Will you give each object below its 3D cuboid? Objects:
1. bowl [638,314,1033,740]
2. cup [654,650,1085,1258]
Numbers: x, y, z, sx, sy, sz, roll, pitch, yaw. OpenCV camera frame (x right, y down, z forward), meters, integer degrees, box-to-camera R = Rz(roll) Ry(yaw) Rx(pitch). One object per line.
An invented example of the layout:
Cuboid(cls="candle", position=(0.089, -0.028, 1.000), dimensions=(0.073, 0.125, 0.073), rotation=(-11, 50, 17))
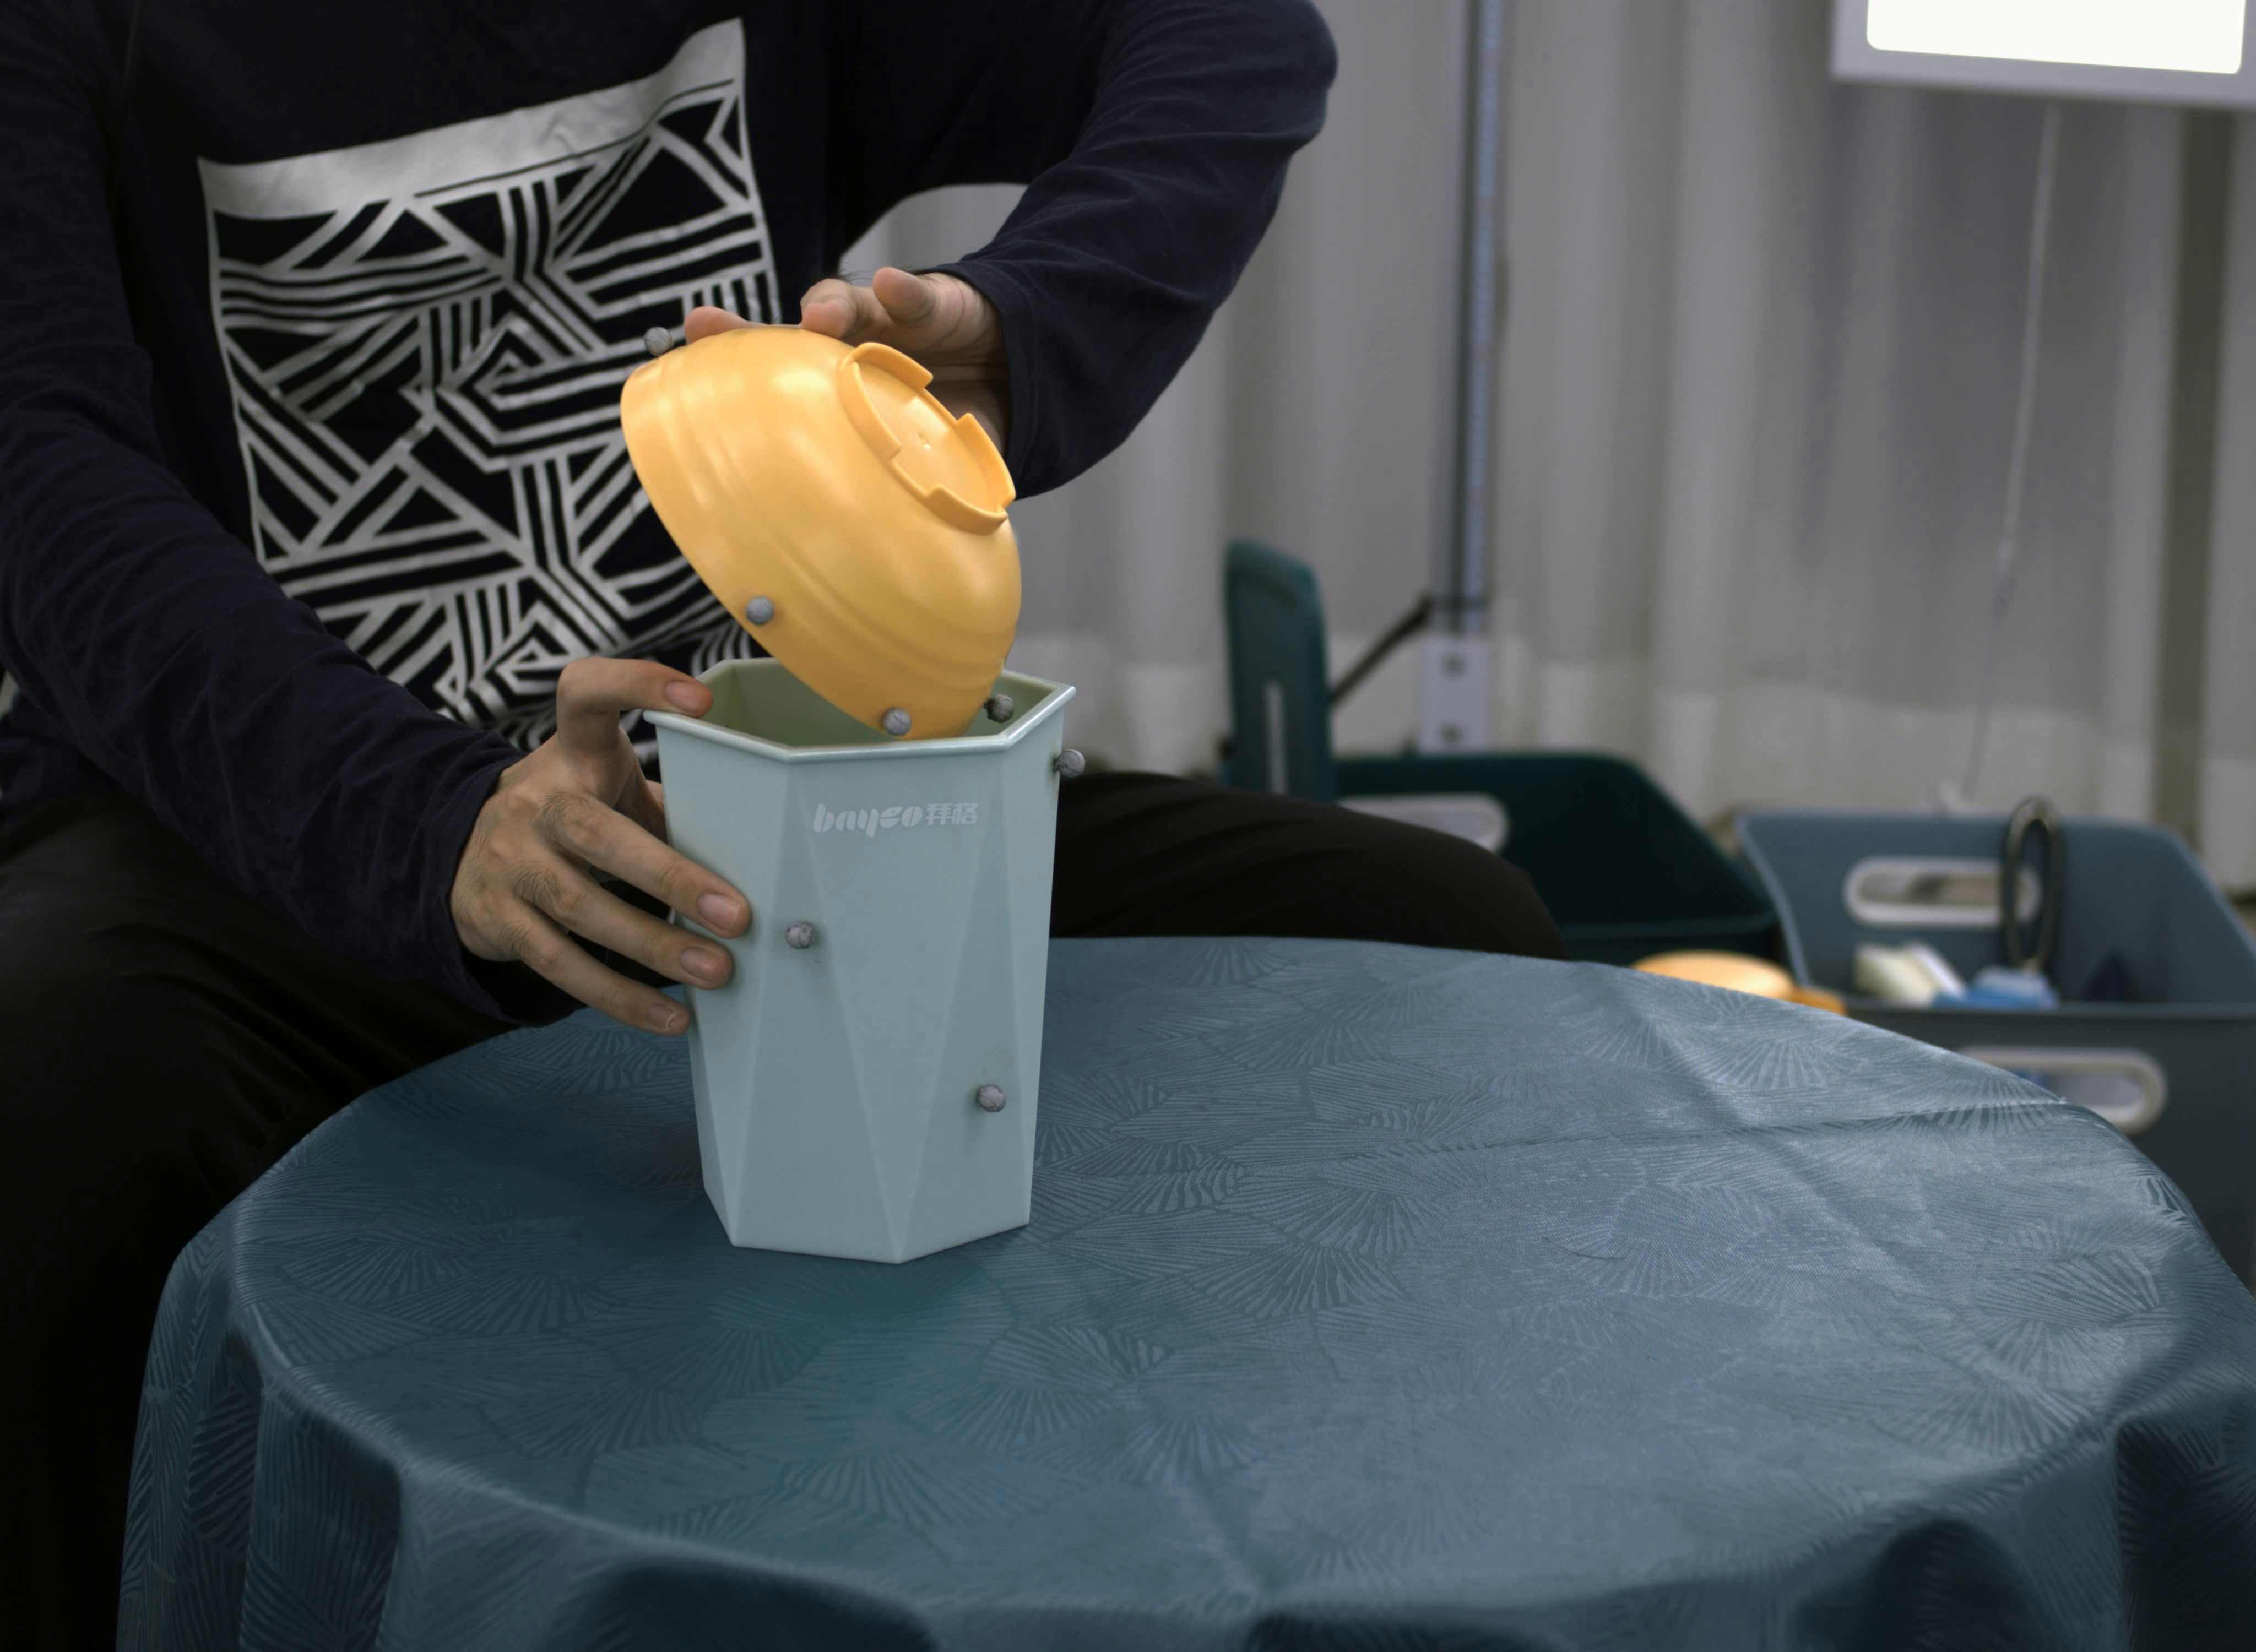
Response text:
Cuboid(cls="bowl", position=(-0.072, -0.100, 1.538), dimensions=(0.060, 0.145, 0.145), rotation=(-38, 3, 21))
Cuboid(cls="cup", position=(-0.077, 0.037, 1.585), dimensions=(0.131, 0.164, 0.114), rotation=(-3, 15, -15))
